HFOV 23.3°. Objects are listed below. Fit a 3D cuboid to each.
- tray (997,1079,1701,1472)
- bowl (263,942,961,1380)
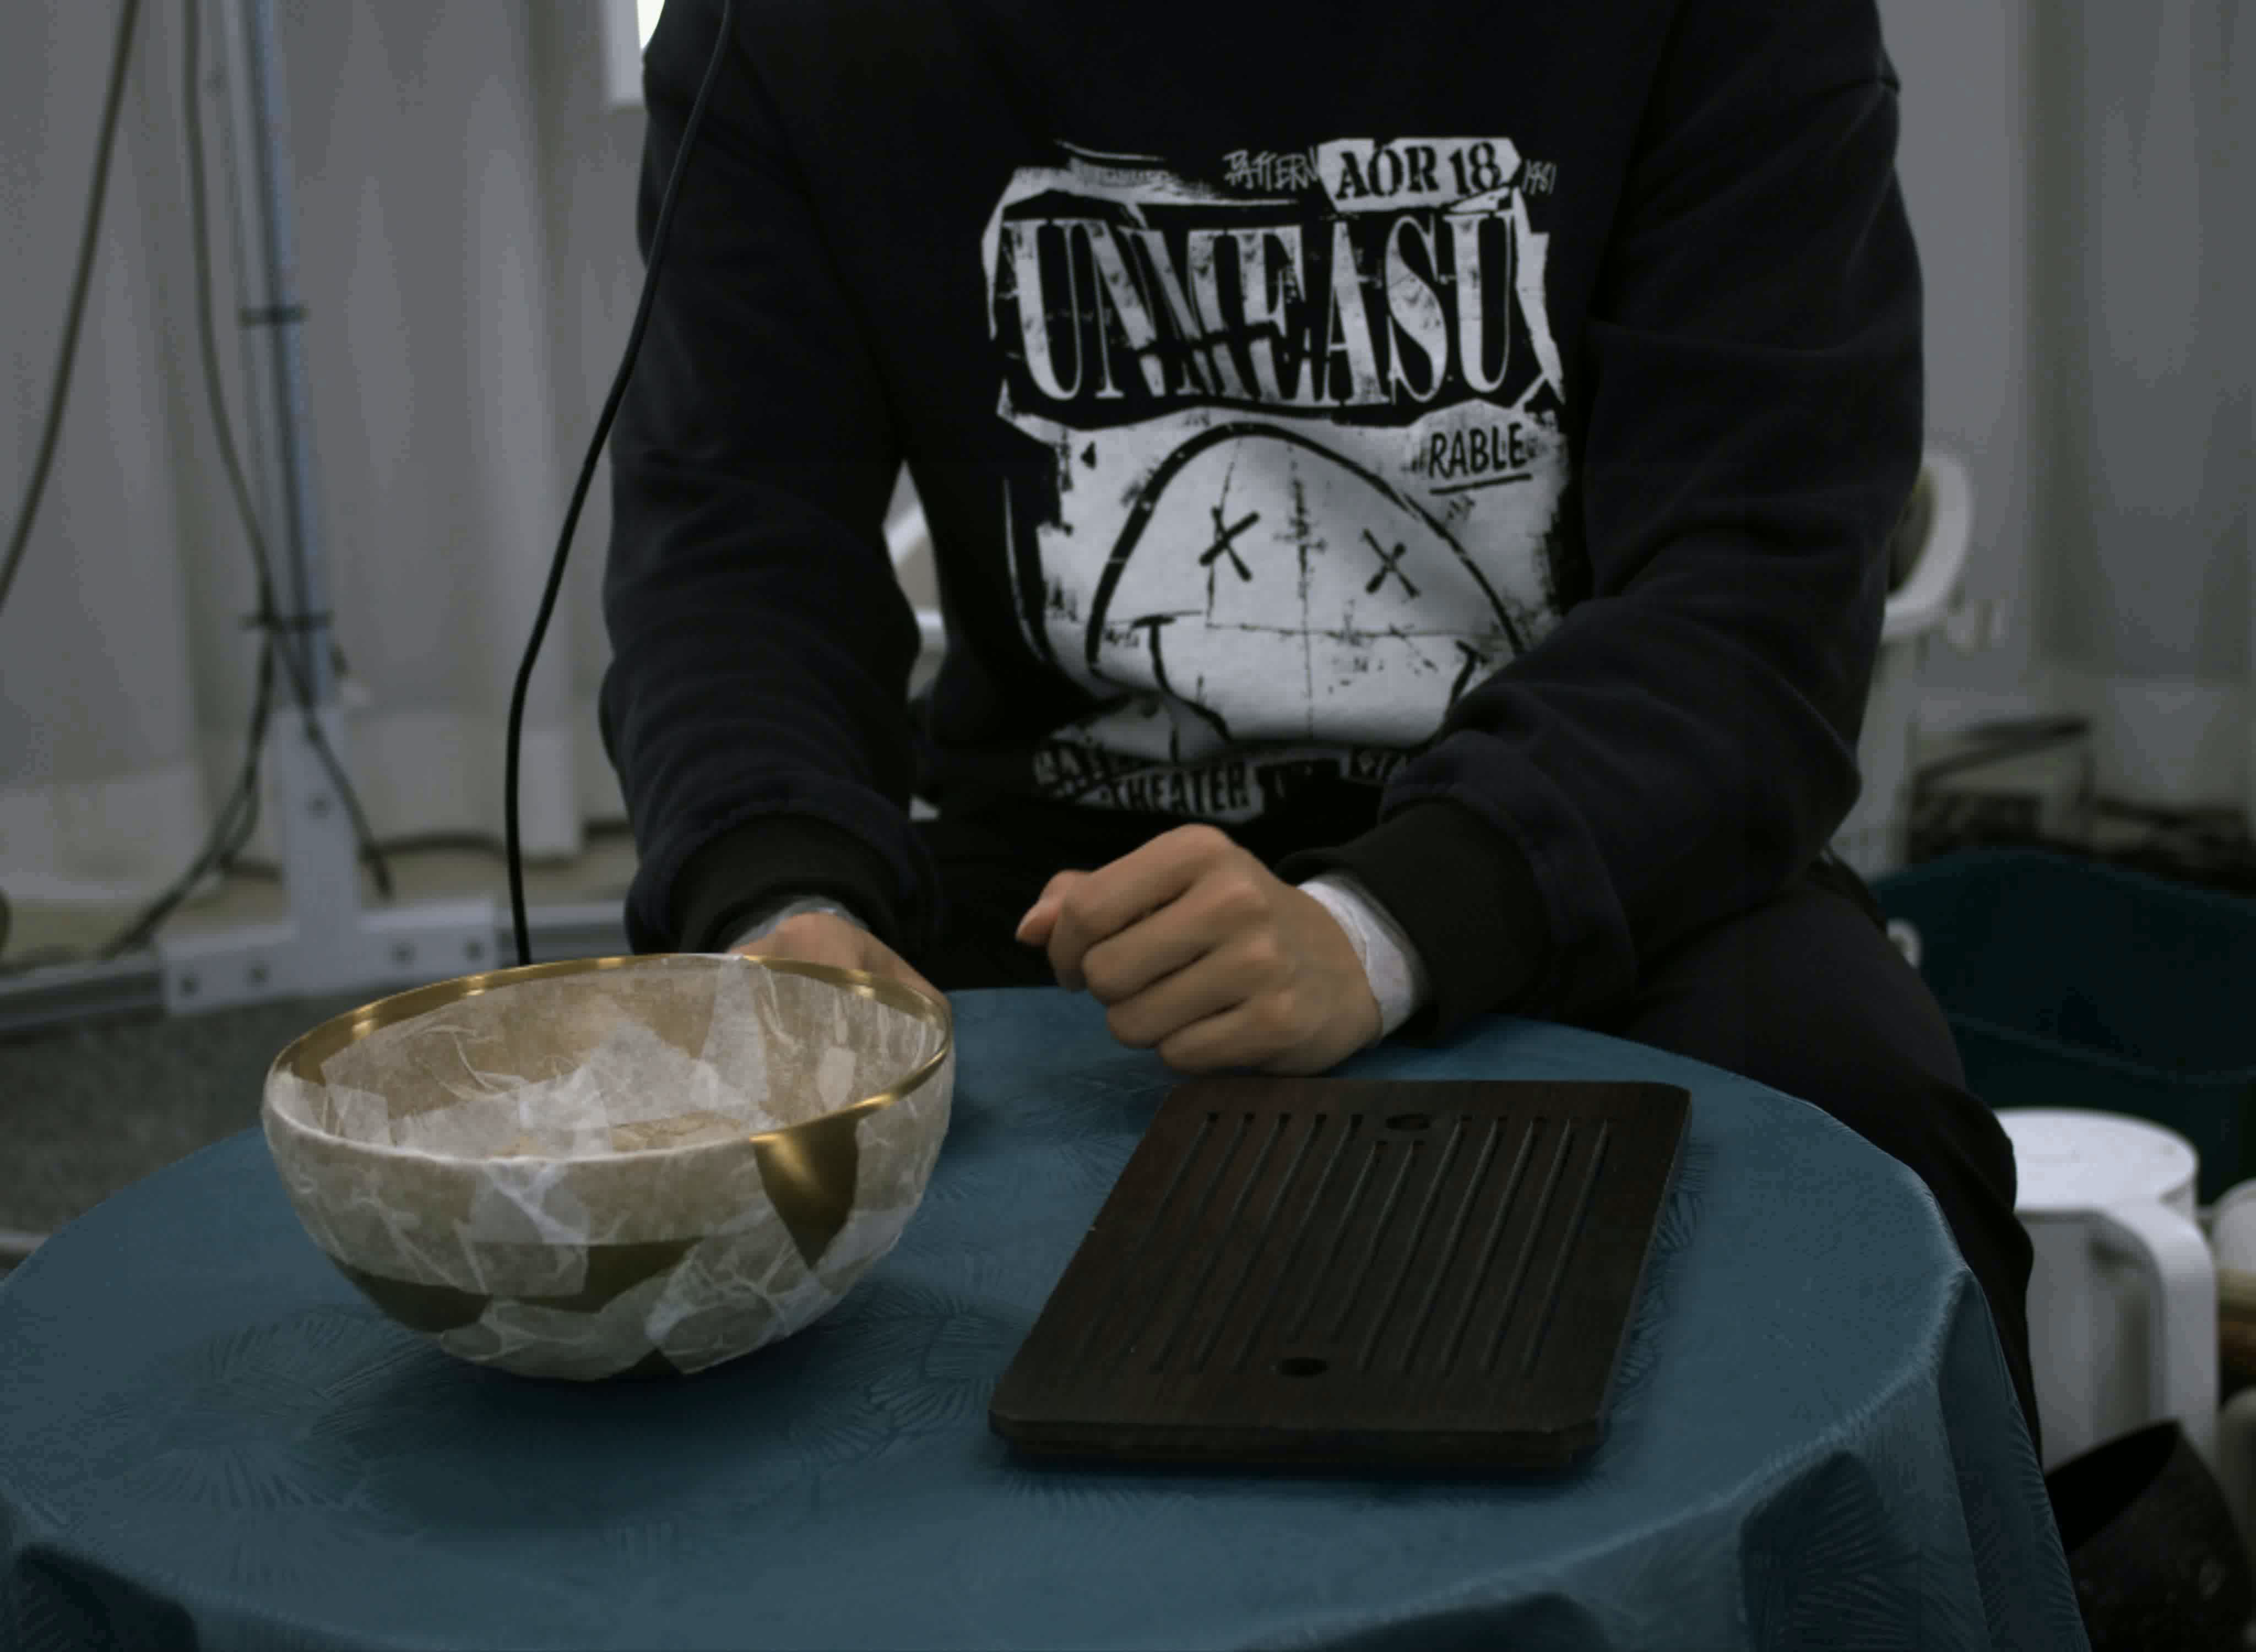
[{"bbox_3d":[0.073,0.130,1.611,0.170,0.018,0.307,0,15,11],"label":"tray"},{"bbox_3d":[-0.144,0.106,1.596,0.214,0.094,0.216,-4,14,1],"label":"bowl"}]
